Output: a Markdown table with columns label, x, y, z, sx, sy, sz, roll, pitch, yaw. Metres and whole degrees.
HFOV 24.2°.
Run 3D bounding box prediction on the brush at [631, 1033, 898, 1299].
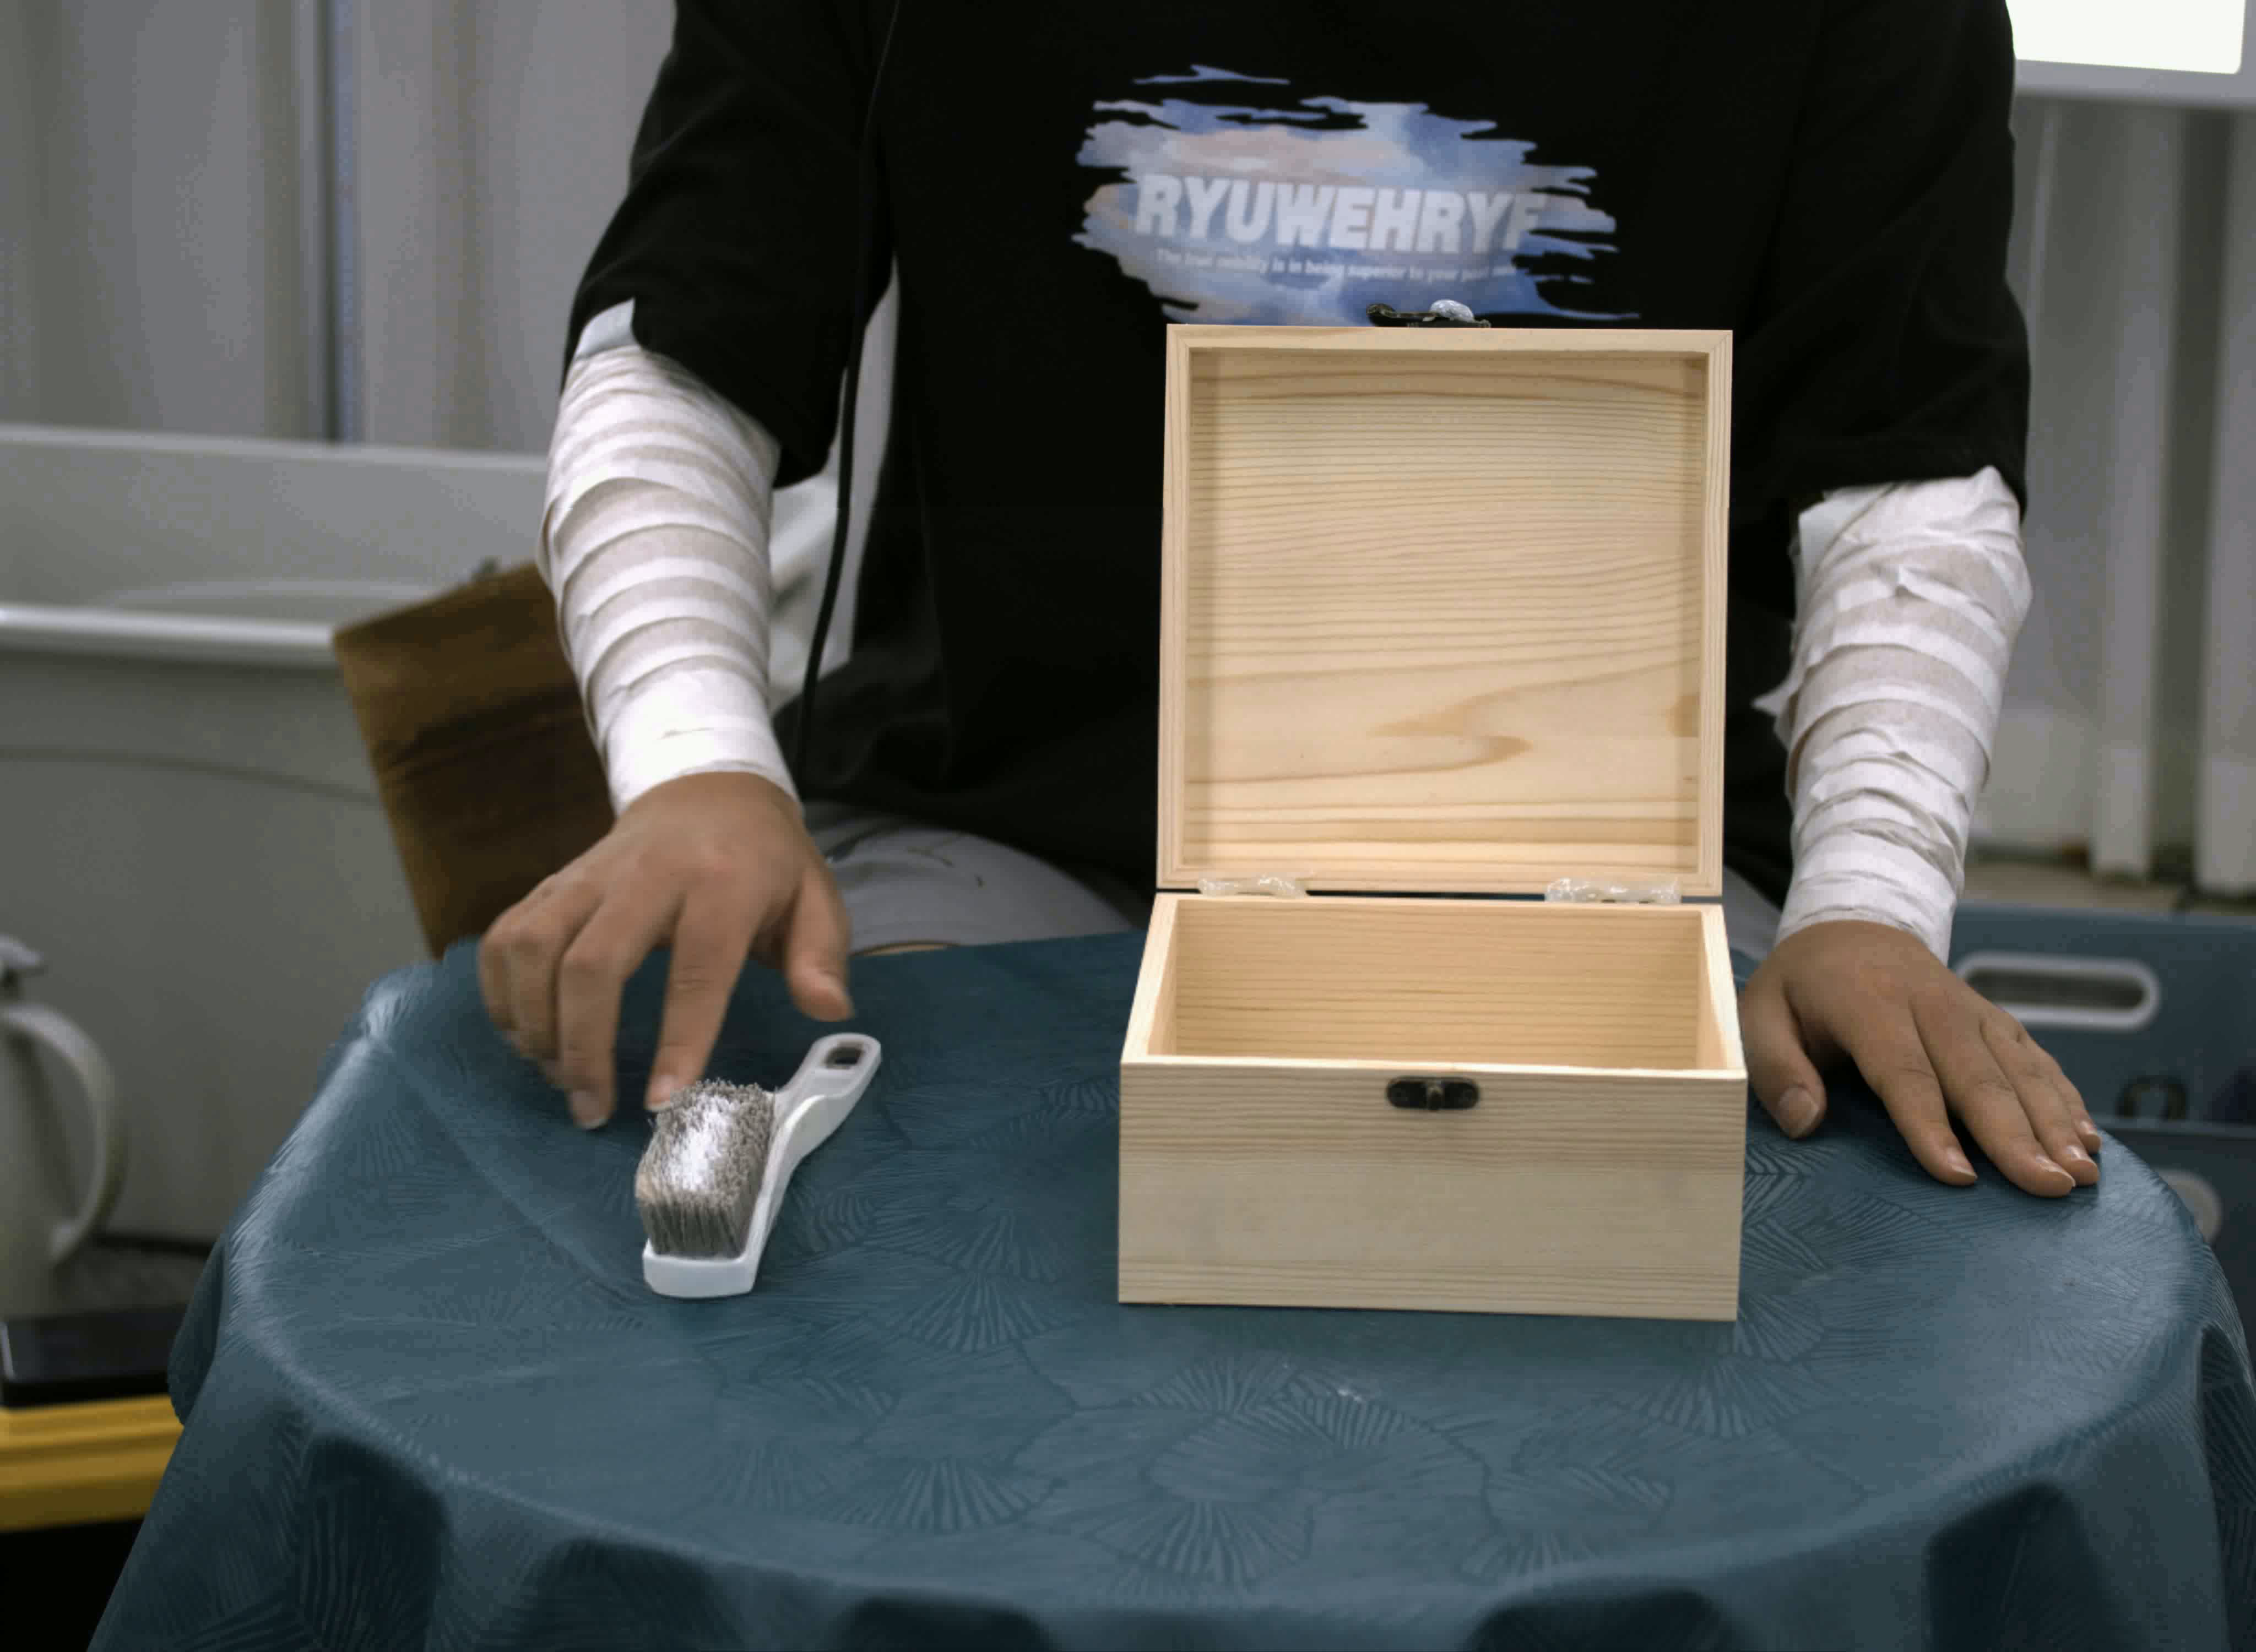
| label | x | y | z | sx | sy | sz | roll | pitch | yaw |
| --- | --- | --- | --- | --- | --- | --- | --- | --- | --- |
| brush | -0.108 | 0.085 | 1.627 | 0.034 | 0.050 | 0.243 | 3 | 16 | 10 |

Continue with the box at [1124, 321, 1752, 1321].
| label | x | y | z | sx | sy | sz | roll | pitch | yaw |
| --- | --- | --- | --- | --- | --- | --- | --- | --- | --- |
| box | 0.094 | -0.011 | 1.607 | 0.181 | 0.255 | 0.264 | 0 | 15 | 3 |
